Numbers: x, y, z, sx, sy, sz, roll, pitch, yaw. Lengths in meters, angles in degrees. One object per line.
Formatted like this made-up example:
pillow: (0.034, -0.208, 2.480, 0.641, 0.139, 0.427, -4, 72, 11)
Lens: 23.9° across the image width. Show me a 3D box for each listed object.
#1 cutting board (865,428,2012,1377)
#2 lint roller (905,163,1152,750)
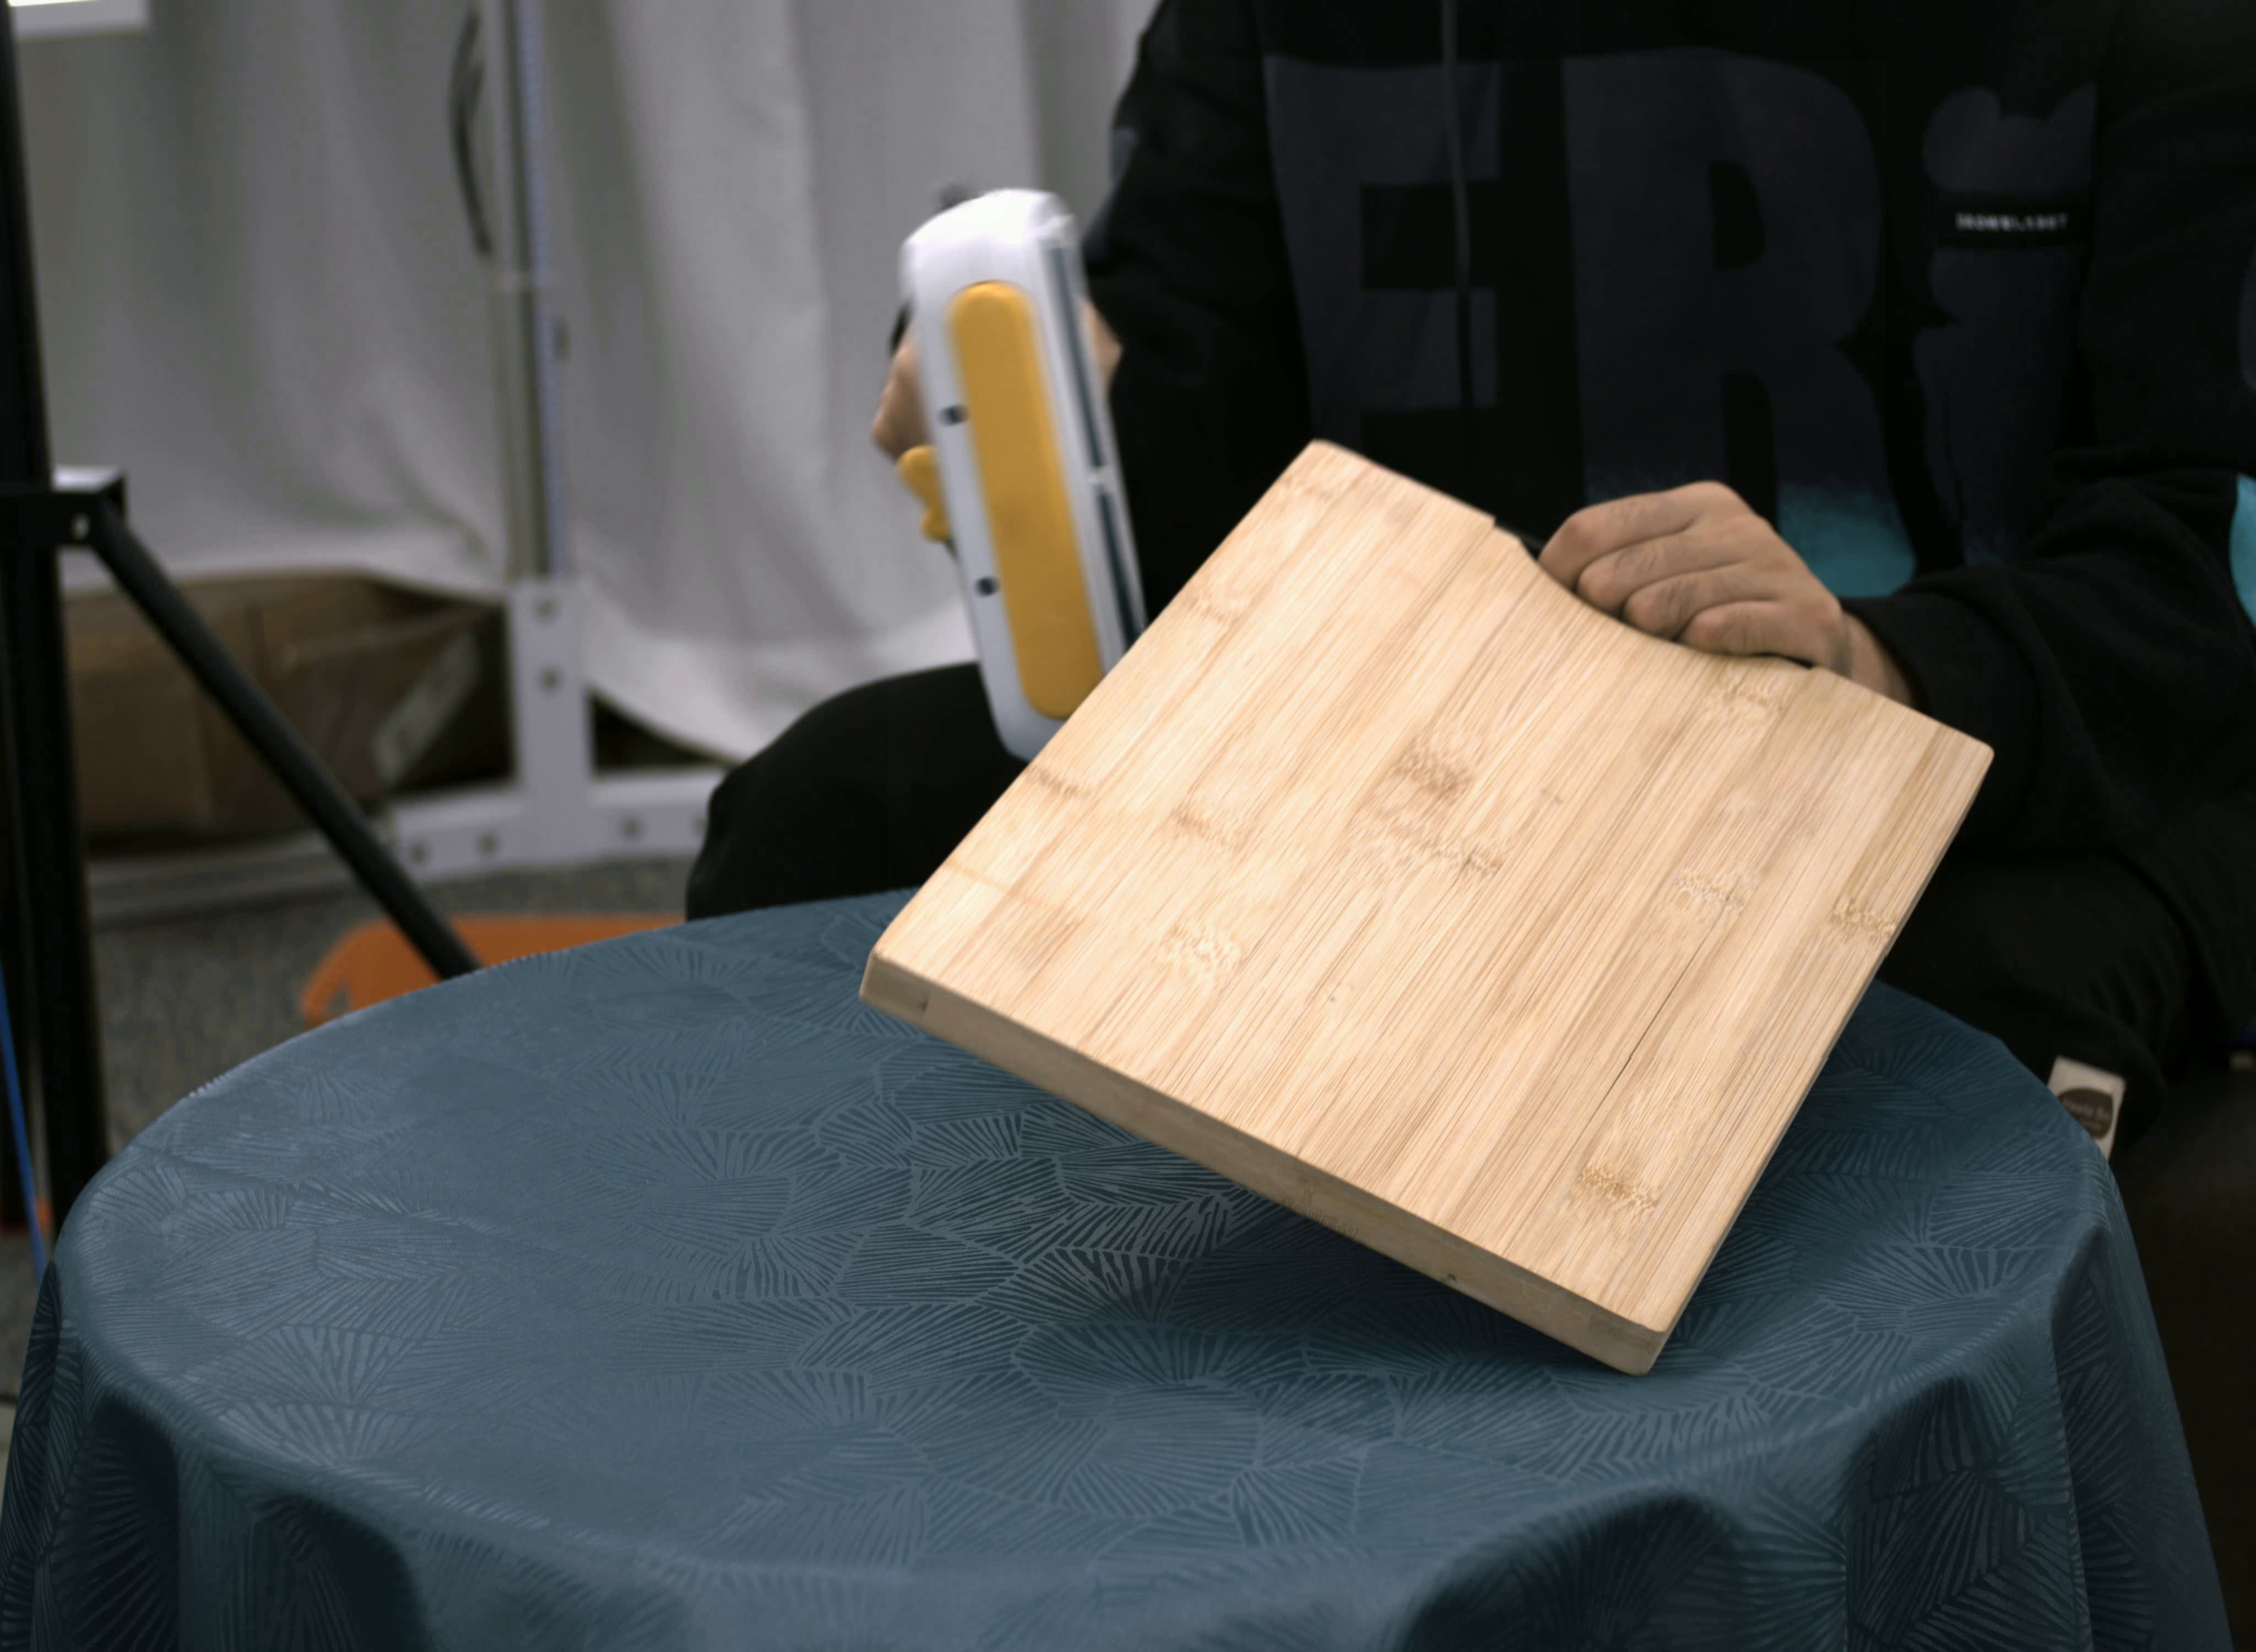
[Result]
cutting board: (0.101, 0.009, 1.556, 0.252, 0.023, 0.345, 25, 36, 11)
lint roller: (-0.032, -0.127, 1.812, 0.074, 0.193, 0.192, -13, 7, 5)
